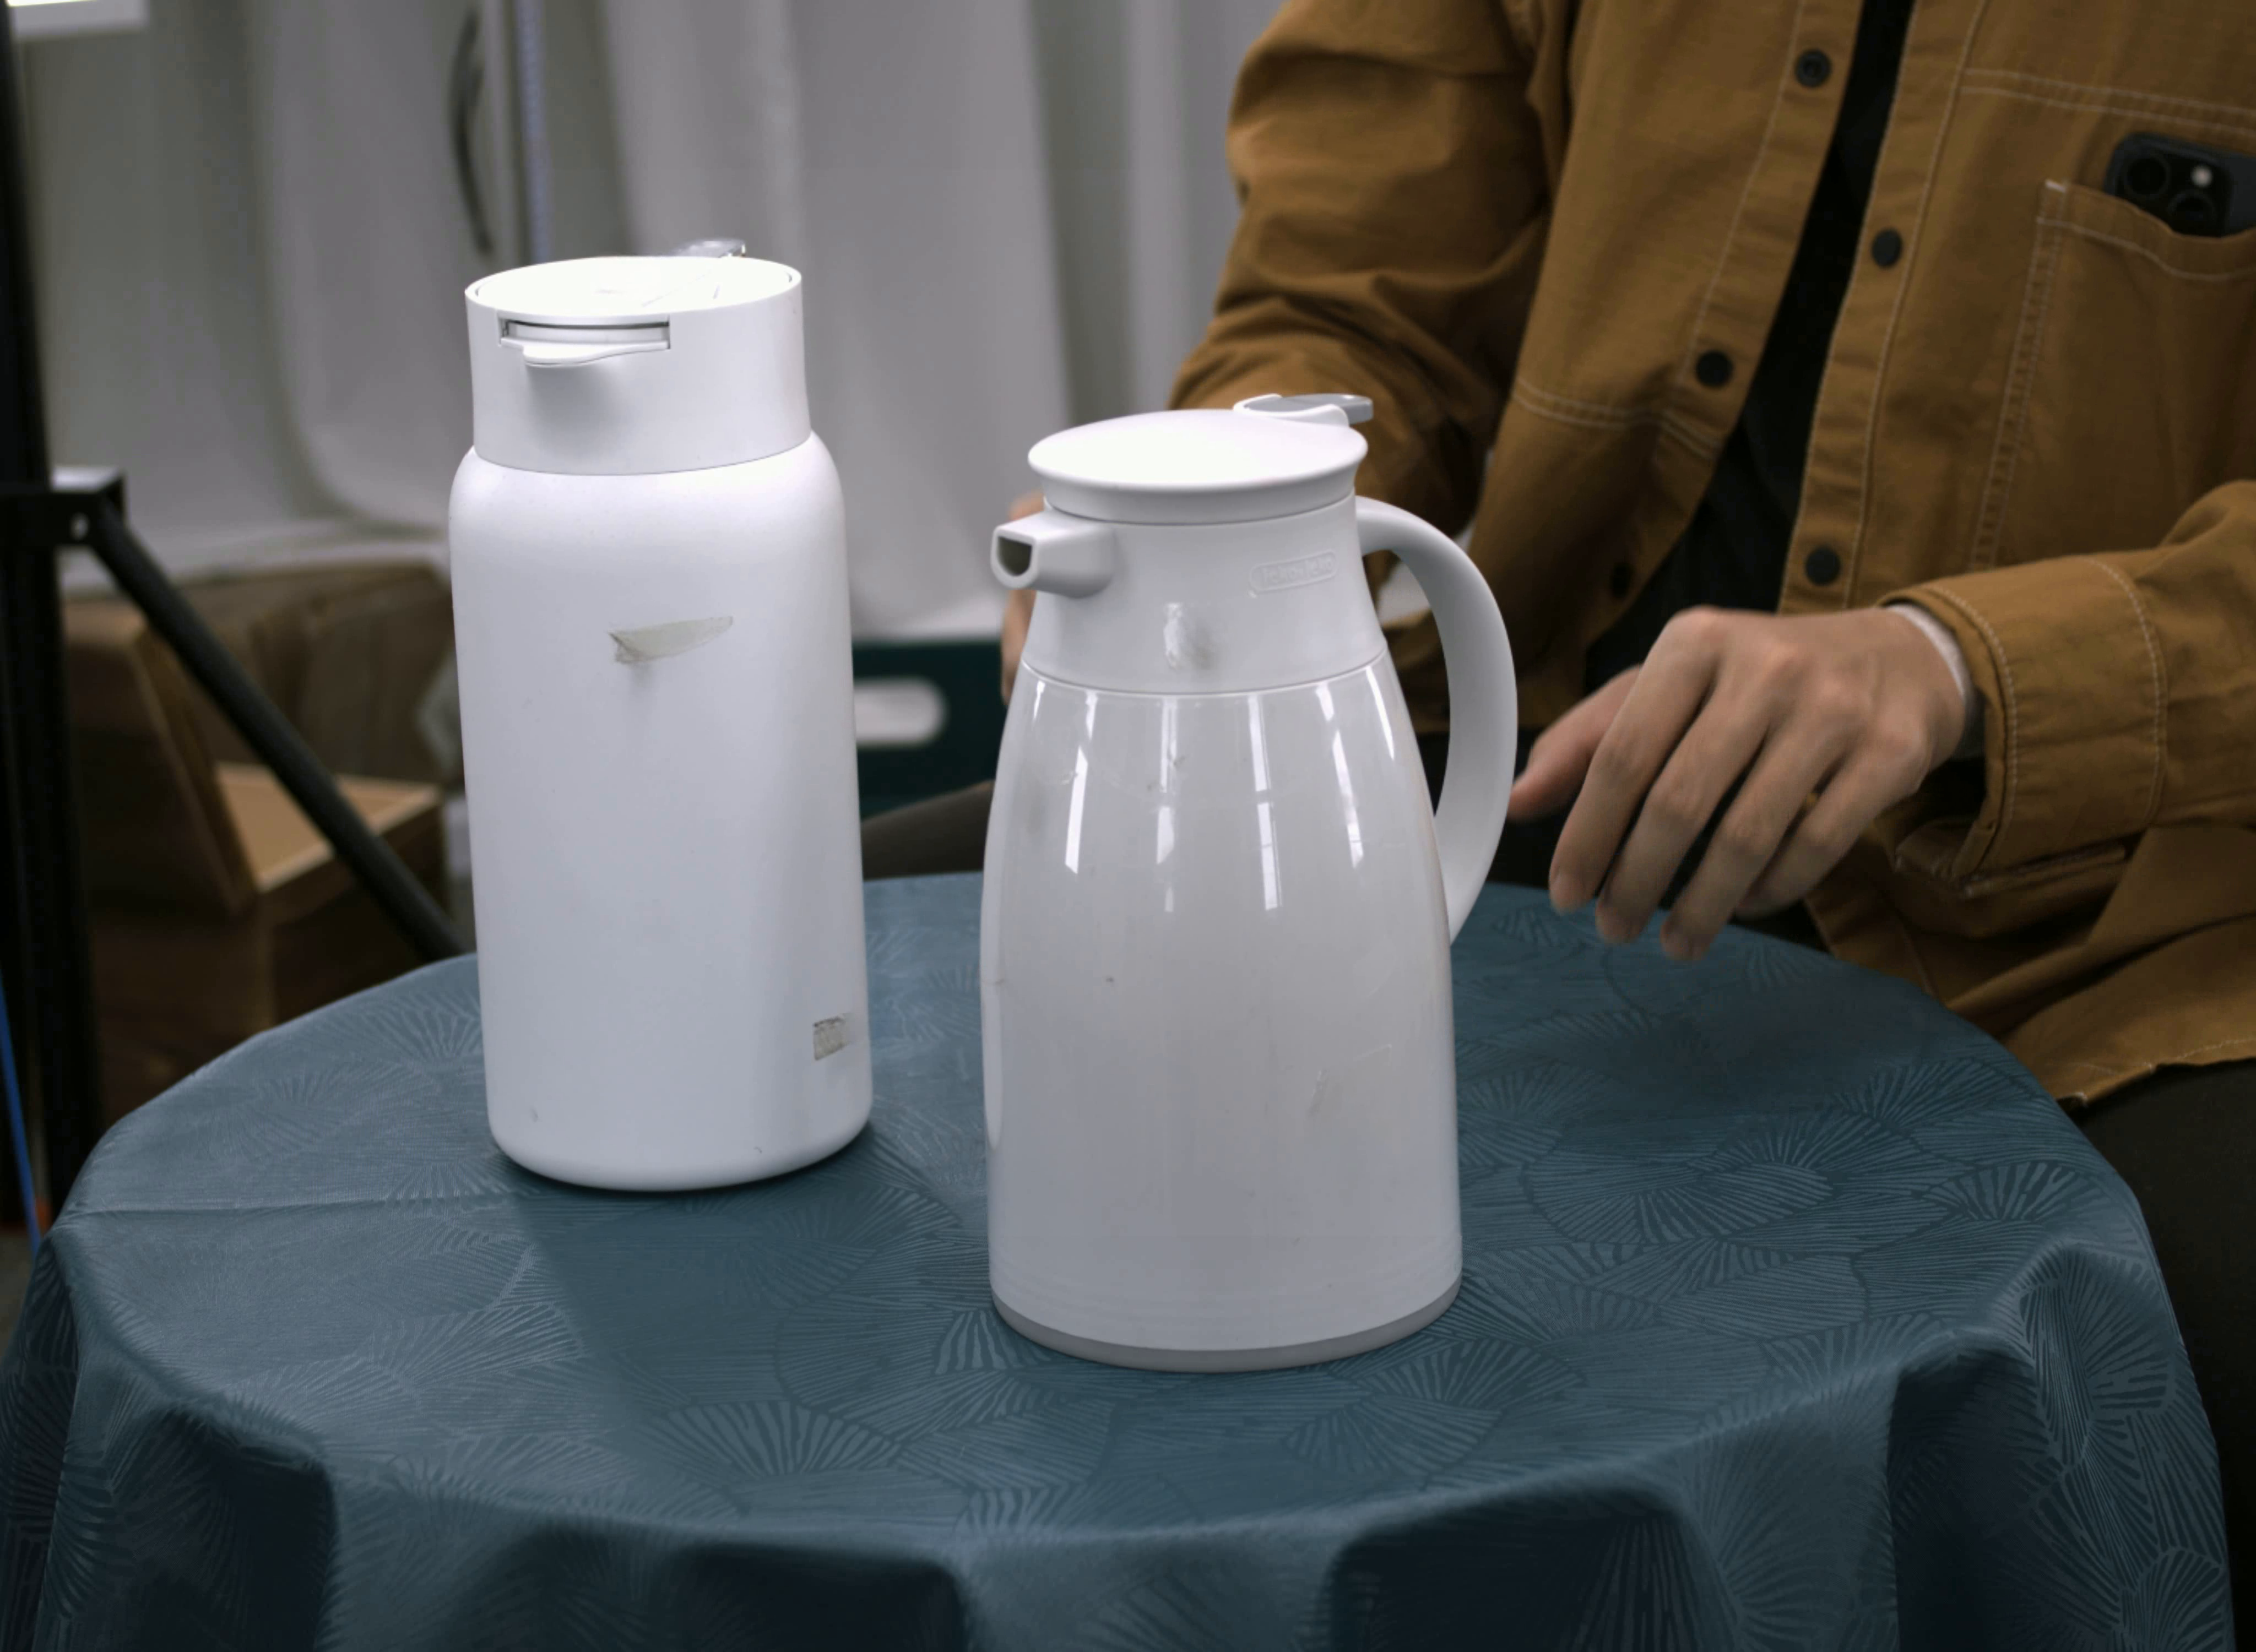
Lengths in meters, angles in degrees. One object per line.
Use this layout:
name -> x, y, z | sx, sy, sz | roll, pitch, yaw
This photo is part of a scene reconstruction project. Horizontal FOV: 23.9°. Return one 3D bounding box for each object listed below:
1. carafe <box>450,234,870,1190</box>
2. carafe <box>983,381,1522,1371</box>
carafe -> -0.136, -0.038, 1.605 | 0.125, 0.269, 0.171 | 1, 15, 17
carafe -> 0.039, 0.005, 1.455 | 0.164, 0.248, 0.135 | -12, 18, -34
